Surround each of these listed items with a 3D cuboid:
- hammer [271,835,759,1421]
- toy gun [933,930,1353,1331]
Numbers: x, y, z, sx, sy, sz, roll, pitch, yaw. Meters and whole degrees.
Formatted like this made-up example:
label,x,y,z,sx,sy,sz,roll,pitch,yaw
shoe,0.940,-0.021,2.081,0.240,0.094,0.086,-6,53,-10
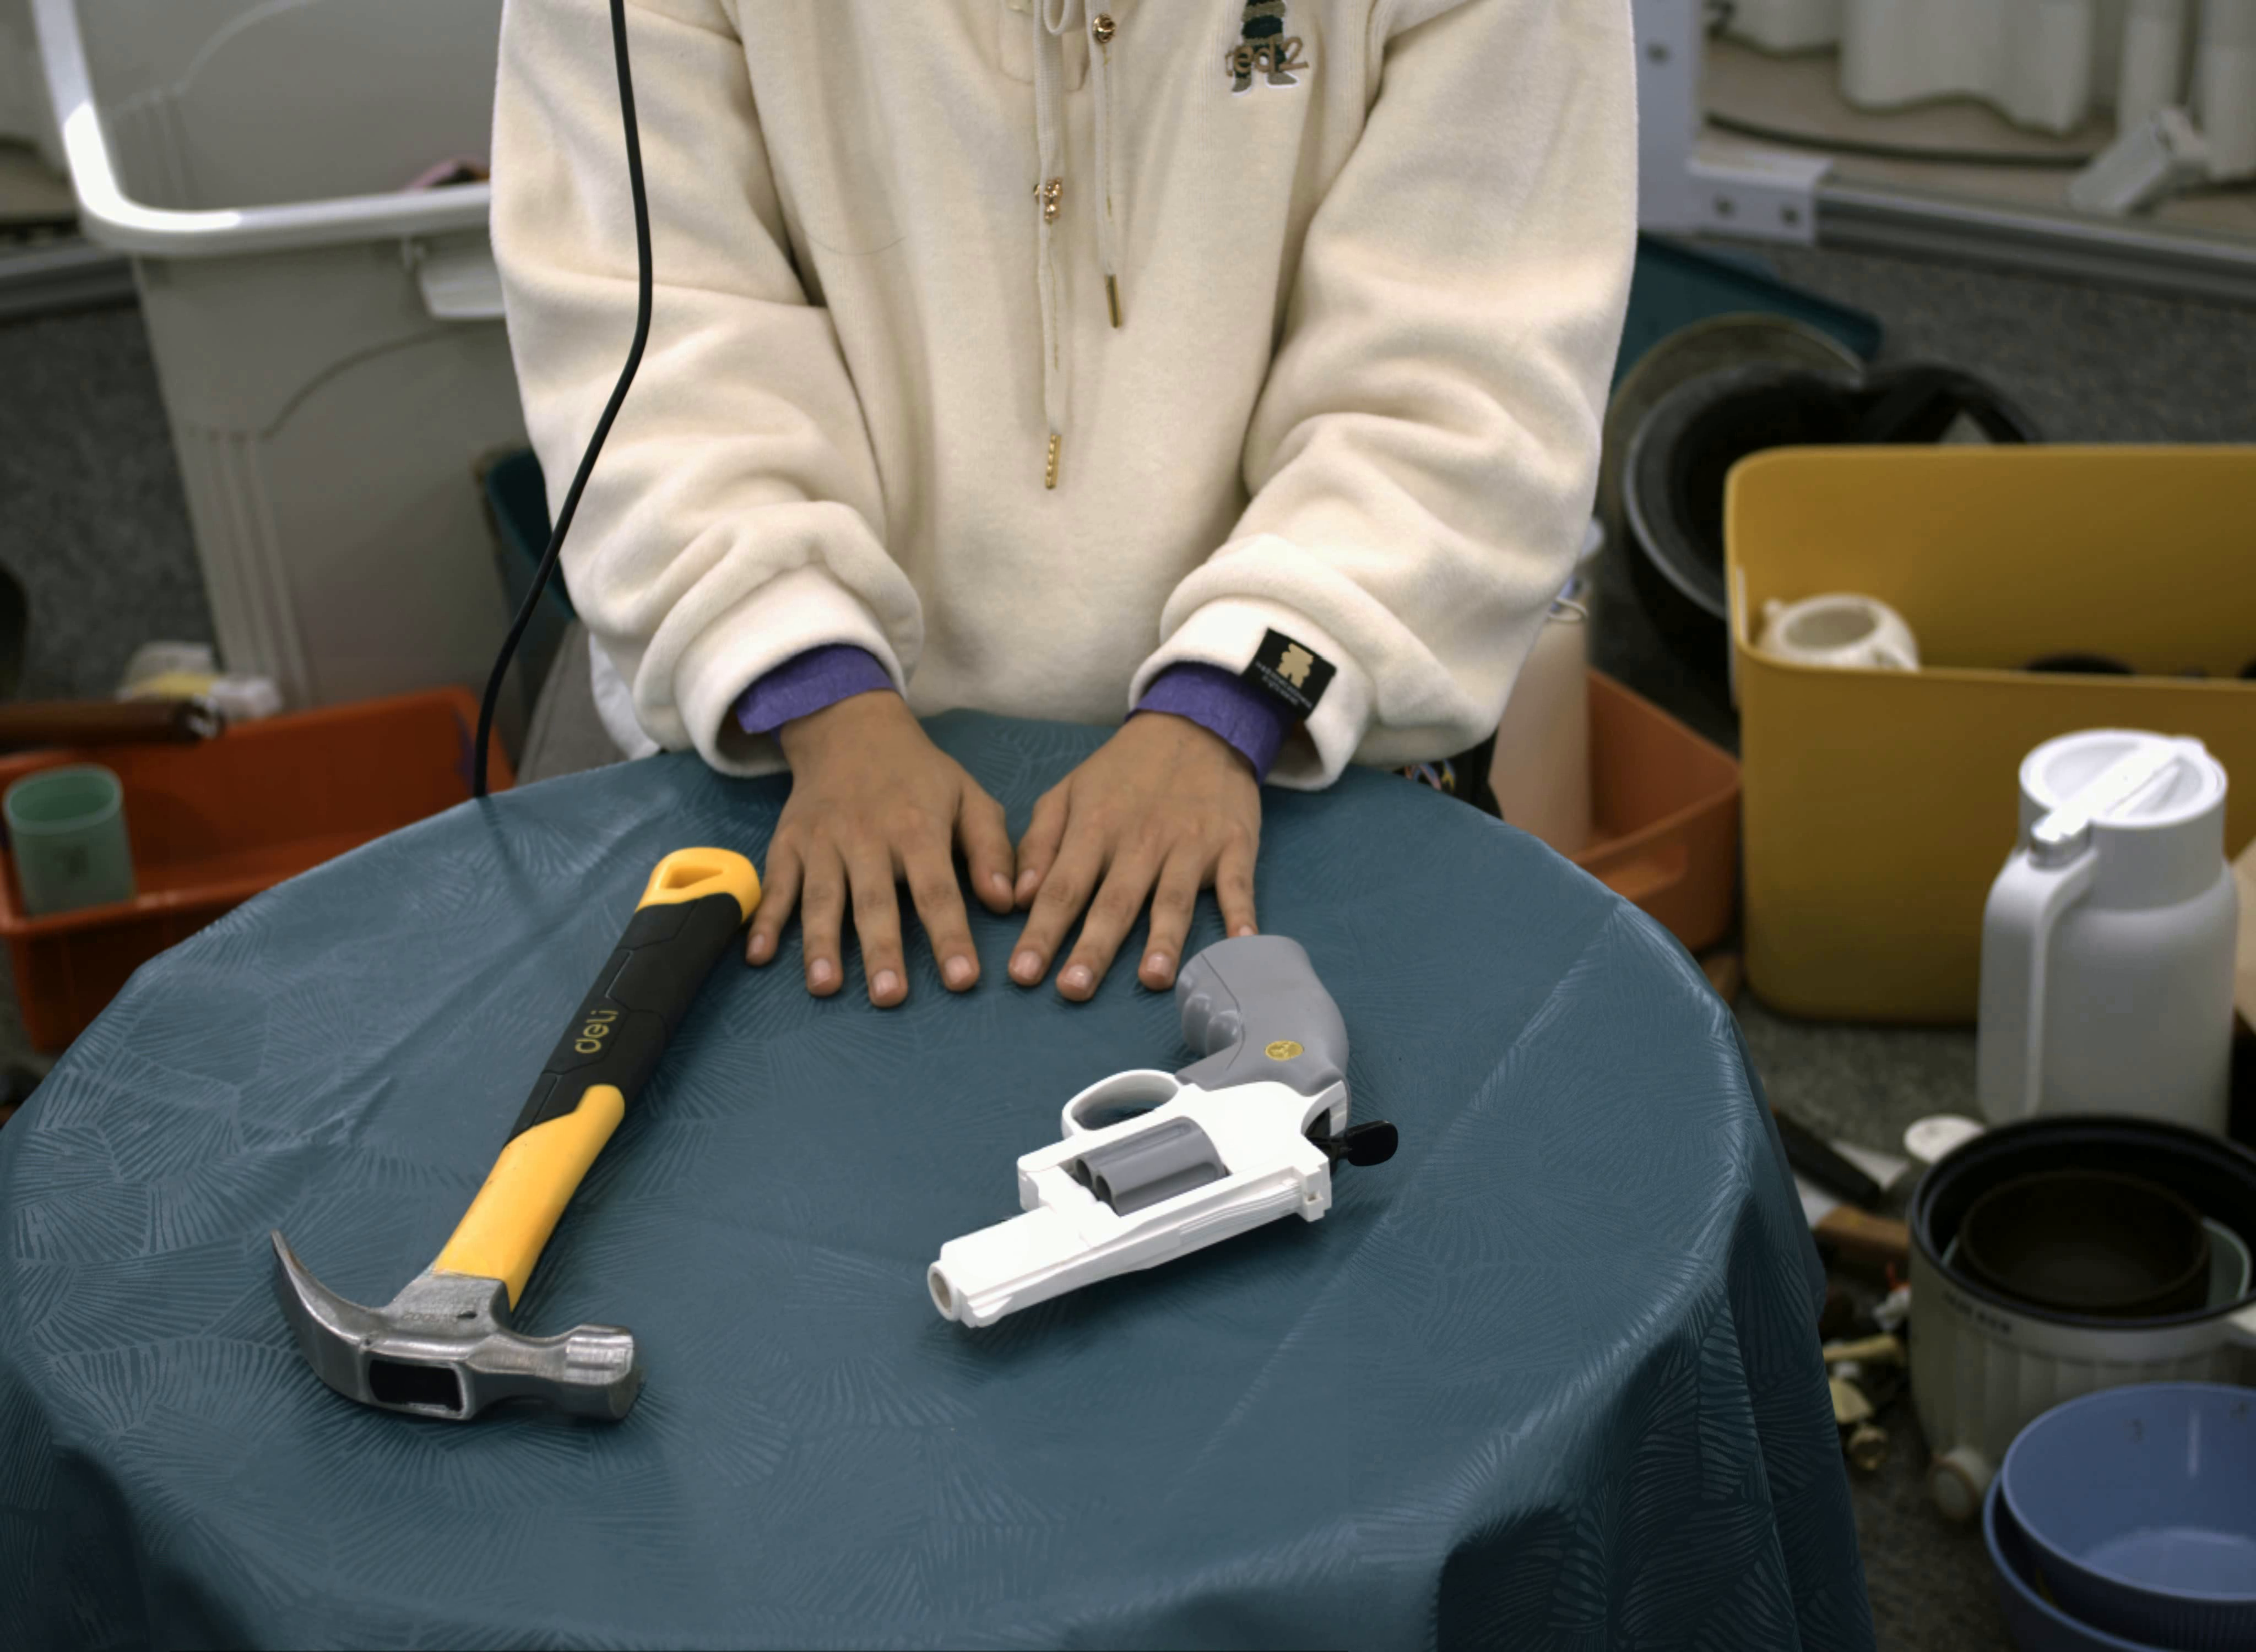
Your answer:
label,x,y,z,sx,sy,sz,roll,pitch,yaw
hammer,-0.187,0.094,1.895,0.130,0.032,0.344,1,29,13
toy gun,0.004,0.100,1.859,0.210,0.038,0.142,-19,32,-28
